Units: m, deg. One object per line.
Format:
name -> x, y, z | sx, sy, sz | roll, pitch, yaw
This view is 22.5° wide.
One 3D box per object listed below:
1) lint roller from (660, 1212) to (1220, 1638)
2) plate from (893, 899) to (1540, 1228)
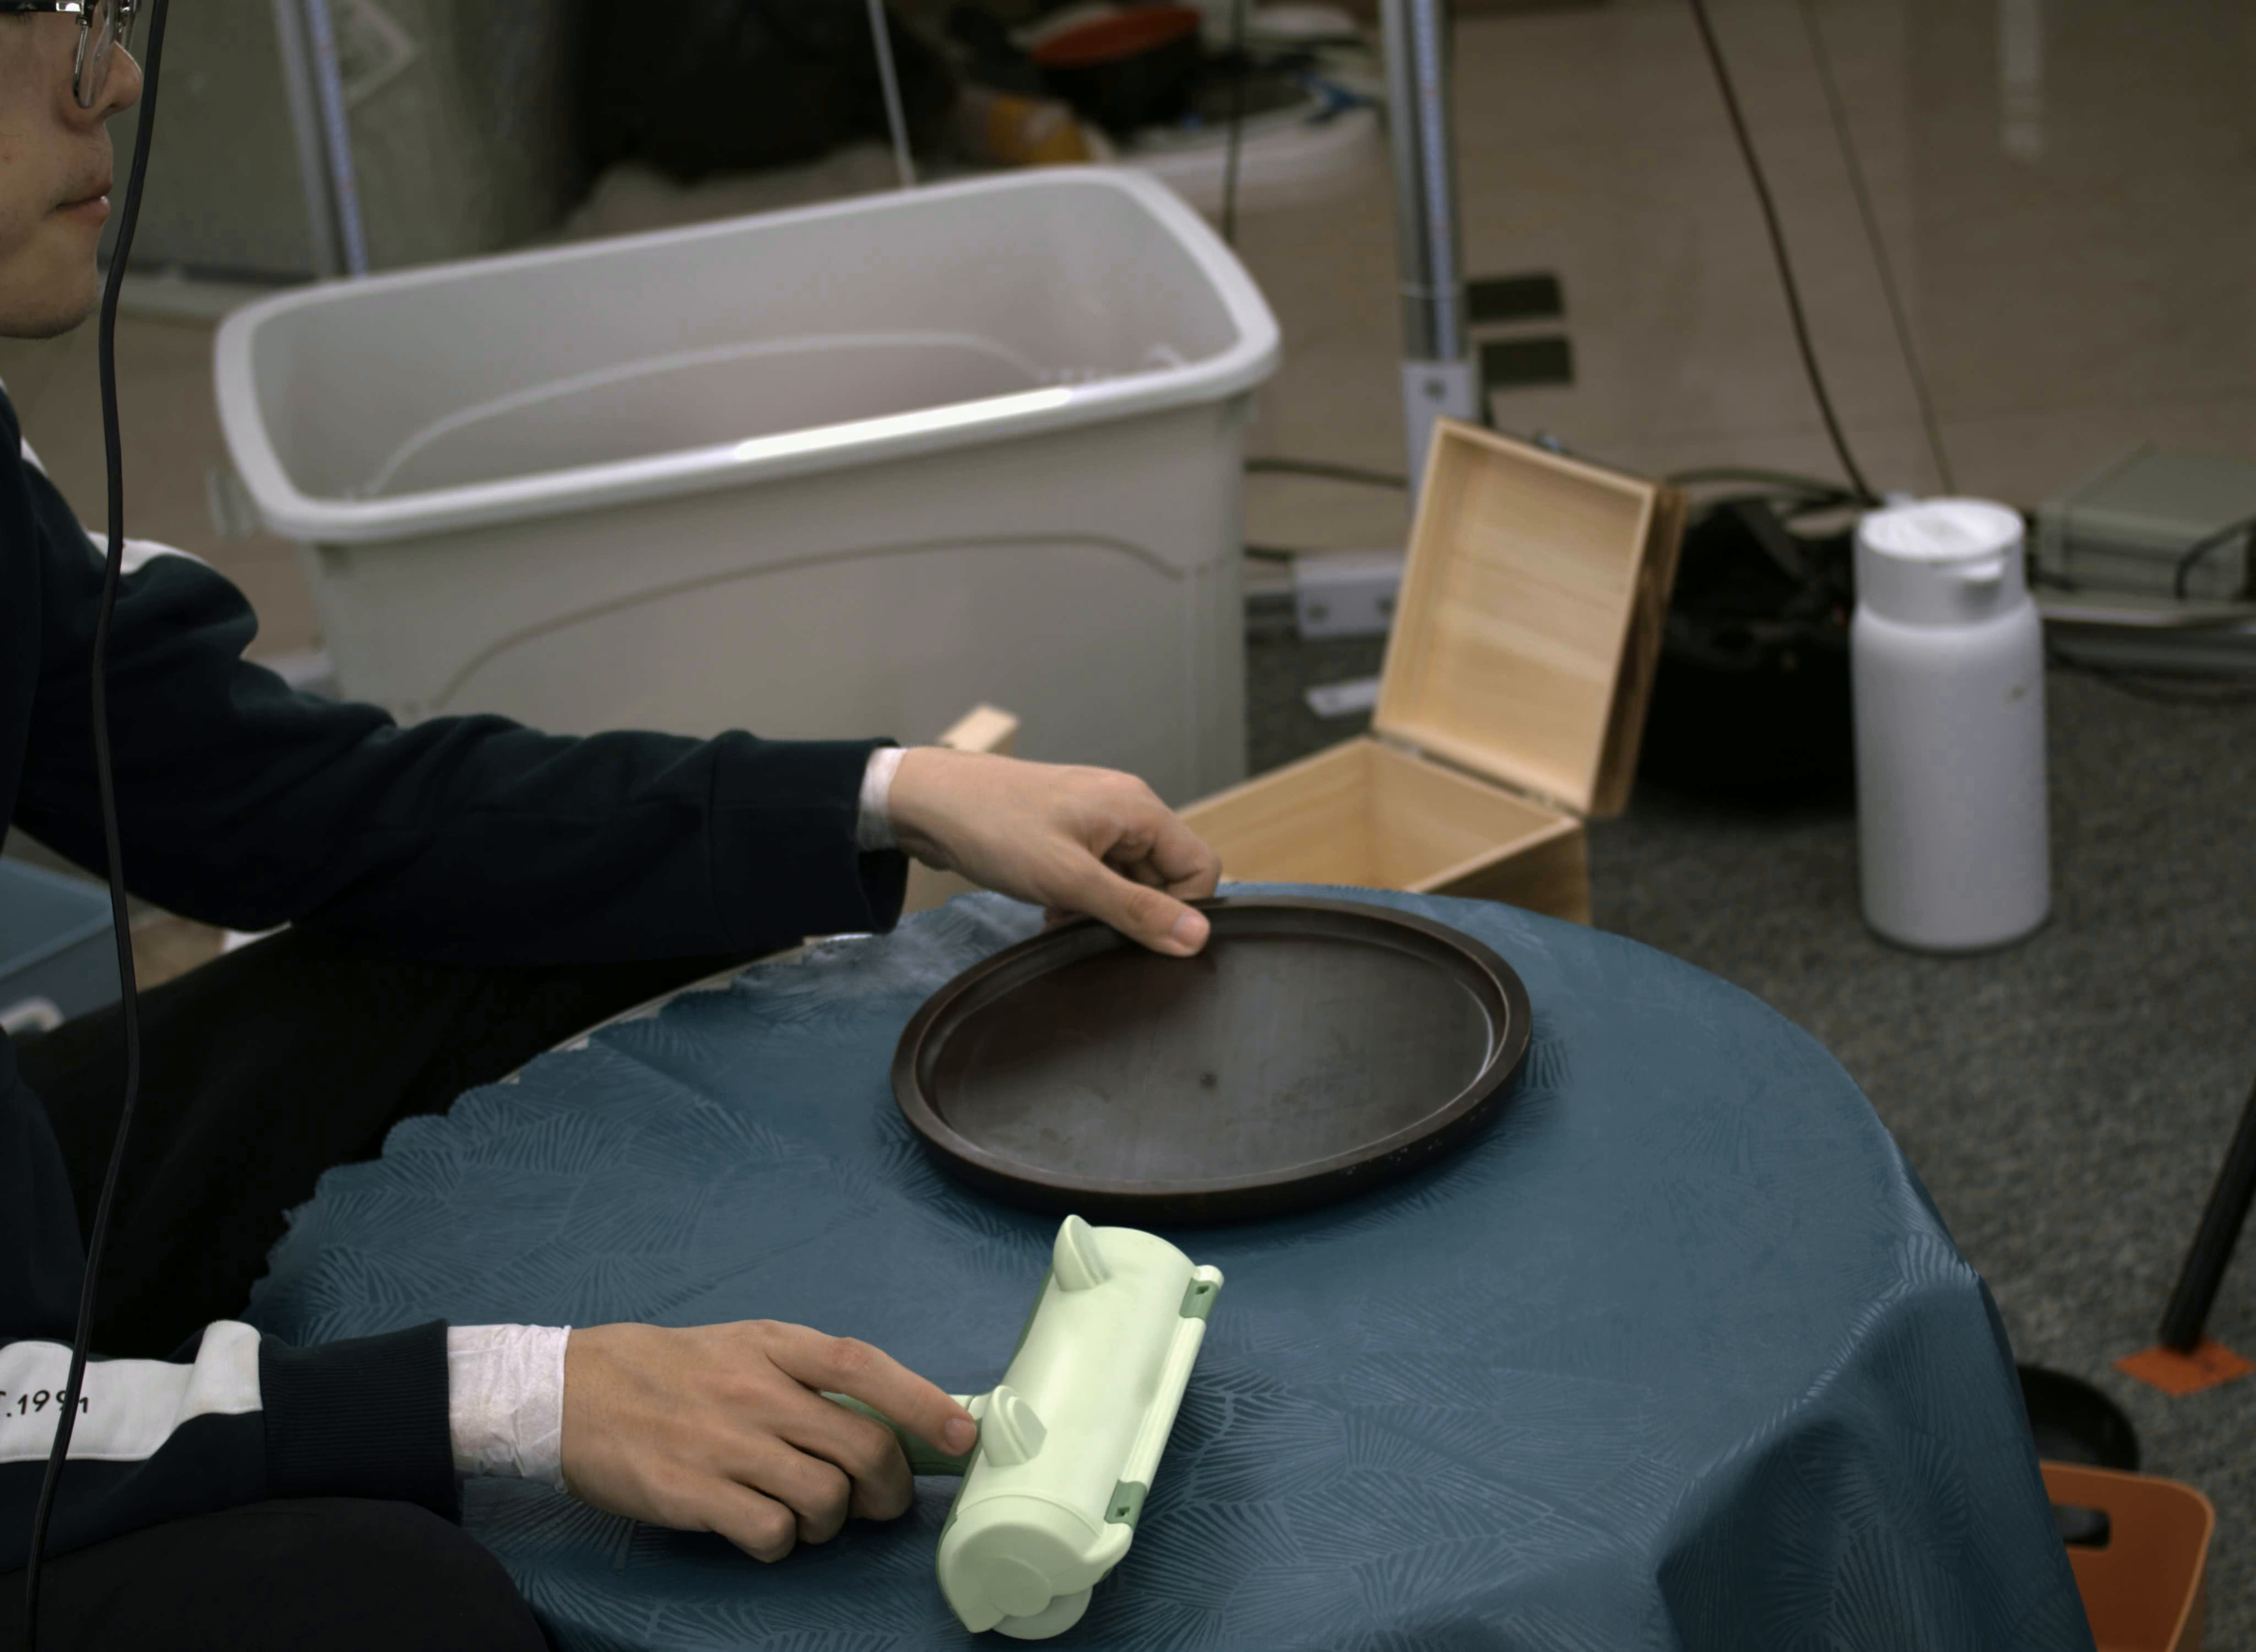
lint roller -> -0.074, 0.195, 1.944 | 0.183, 0.083, 0.196 | 3, 27, 11
plate -> 0.035, 0.090, 2.211 | 0.254, 0.029, 0.251 | -5, 26, 3
